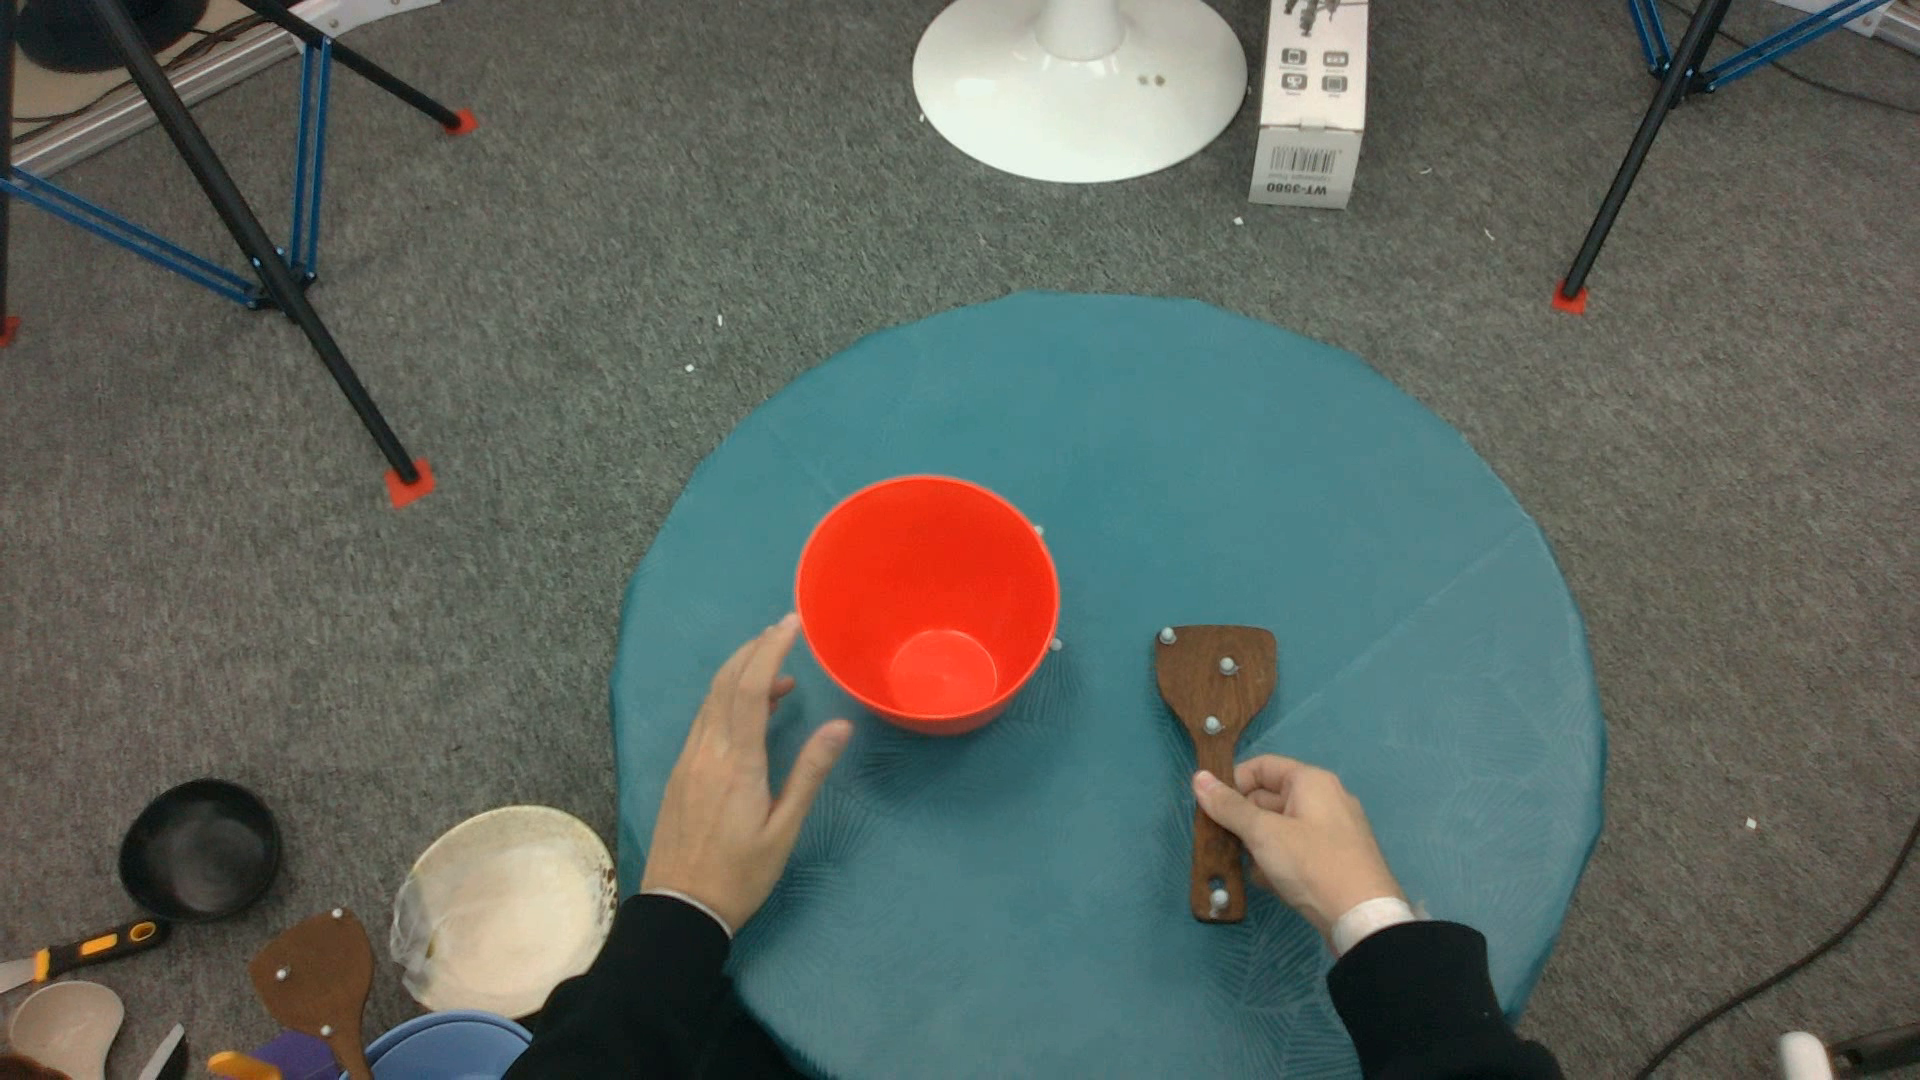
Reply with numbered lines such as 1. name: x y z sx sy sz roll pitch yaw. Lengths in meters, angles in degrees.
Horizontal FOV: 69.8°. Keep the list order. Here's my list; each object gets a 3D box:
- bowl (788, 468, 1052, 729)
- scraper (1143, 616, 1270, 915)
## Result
1. bowl: -0.021 0.046 0.803 0.148 0.104 0.148 0 57 0
2. scraper: 0.138 0.119 0.770 0.076 0.011 0.212 0 40 10
